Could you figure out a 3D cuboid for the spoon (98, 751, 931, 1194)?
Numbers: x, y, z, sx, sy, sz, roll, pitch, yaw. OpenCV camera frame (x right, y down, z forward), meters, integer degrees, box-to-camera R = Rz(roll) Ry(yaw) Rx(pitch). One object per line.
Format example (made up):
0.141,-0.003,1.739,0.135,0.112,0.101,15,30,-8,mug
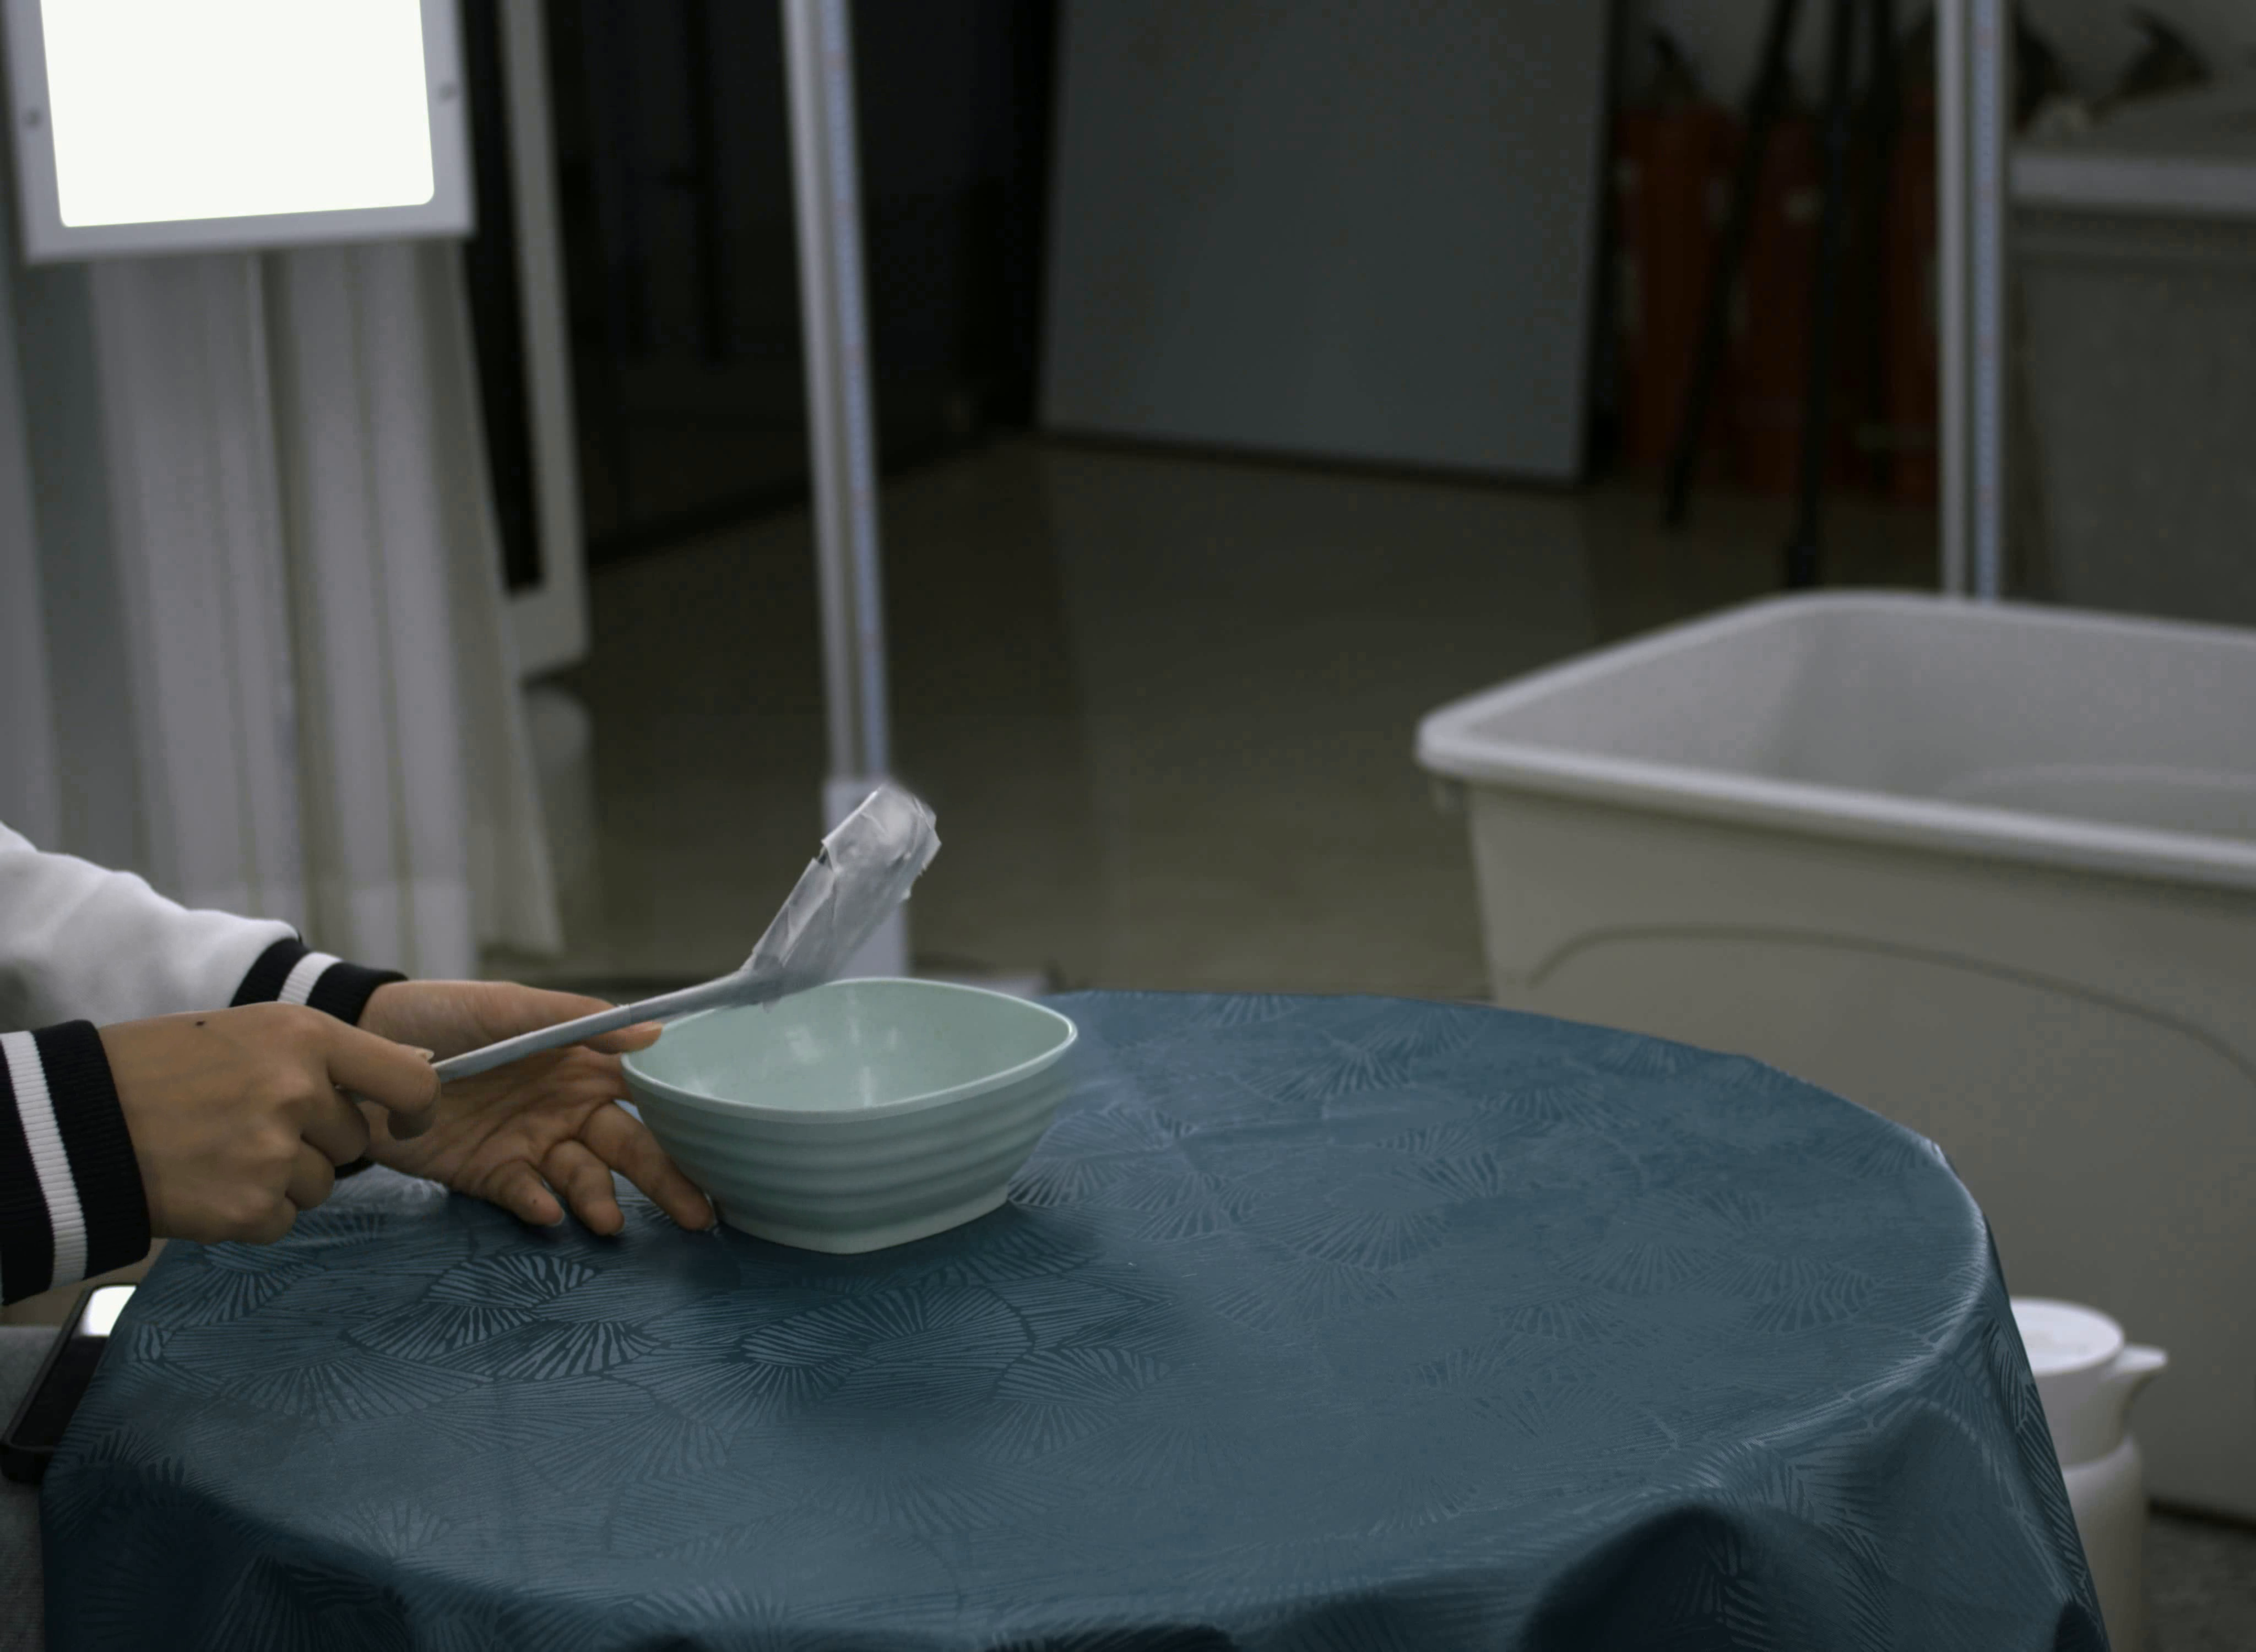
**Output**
-0.182,0.047,1.637,0.273,0.060,0.101,-17,-27,-9,spoon

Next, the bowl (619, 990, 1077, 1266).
-0.089,0.101,1.766,0.149,0.059,0.151,-4,13,0,bowl
